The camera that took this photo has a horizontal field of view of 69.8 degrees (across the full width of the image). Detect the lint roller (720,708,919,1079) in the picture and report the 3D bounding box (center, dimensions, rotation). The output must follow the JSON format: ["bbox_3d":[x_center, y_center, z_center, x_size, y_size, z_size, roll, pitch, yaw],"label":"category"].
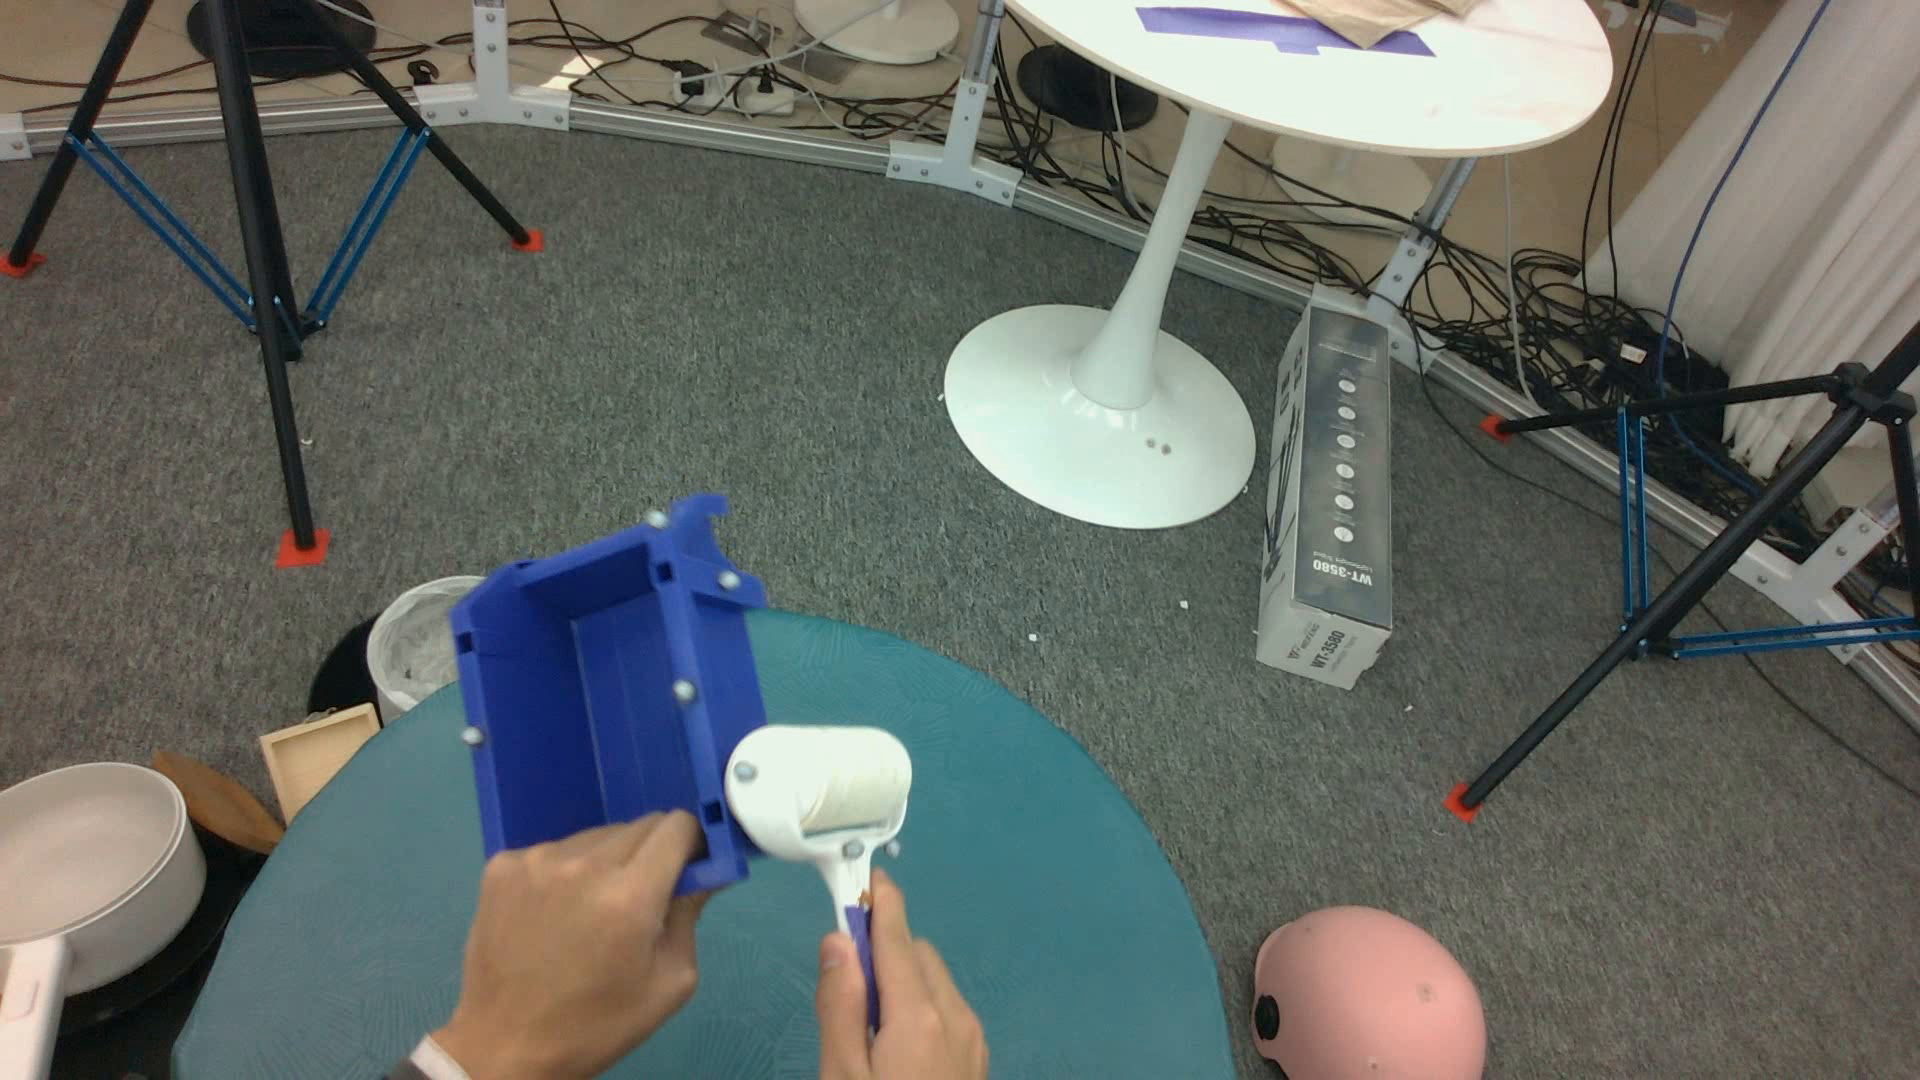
[{"bbox_3d":[-0.040,0.158,0.597,0.050,0.133,0.181,-27,73,10],"label":"lint roller"}]

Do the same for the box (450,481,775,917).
[{"bbox_3d":[-0.158,0.070,0.641,0.124,0.082,0.179,-16,77,17],"label":"box"}]
